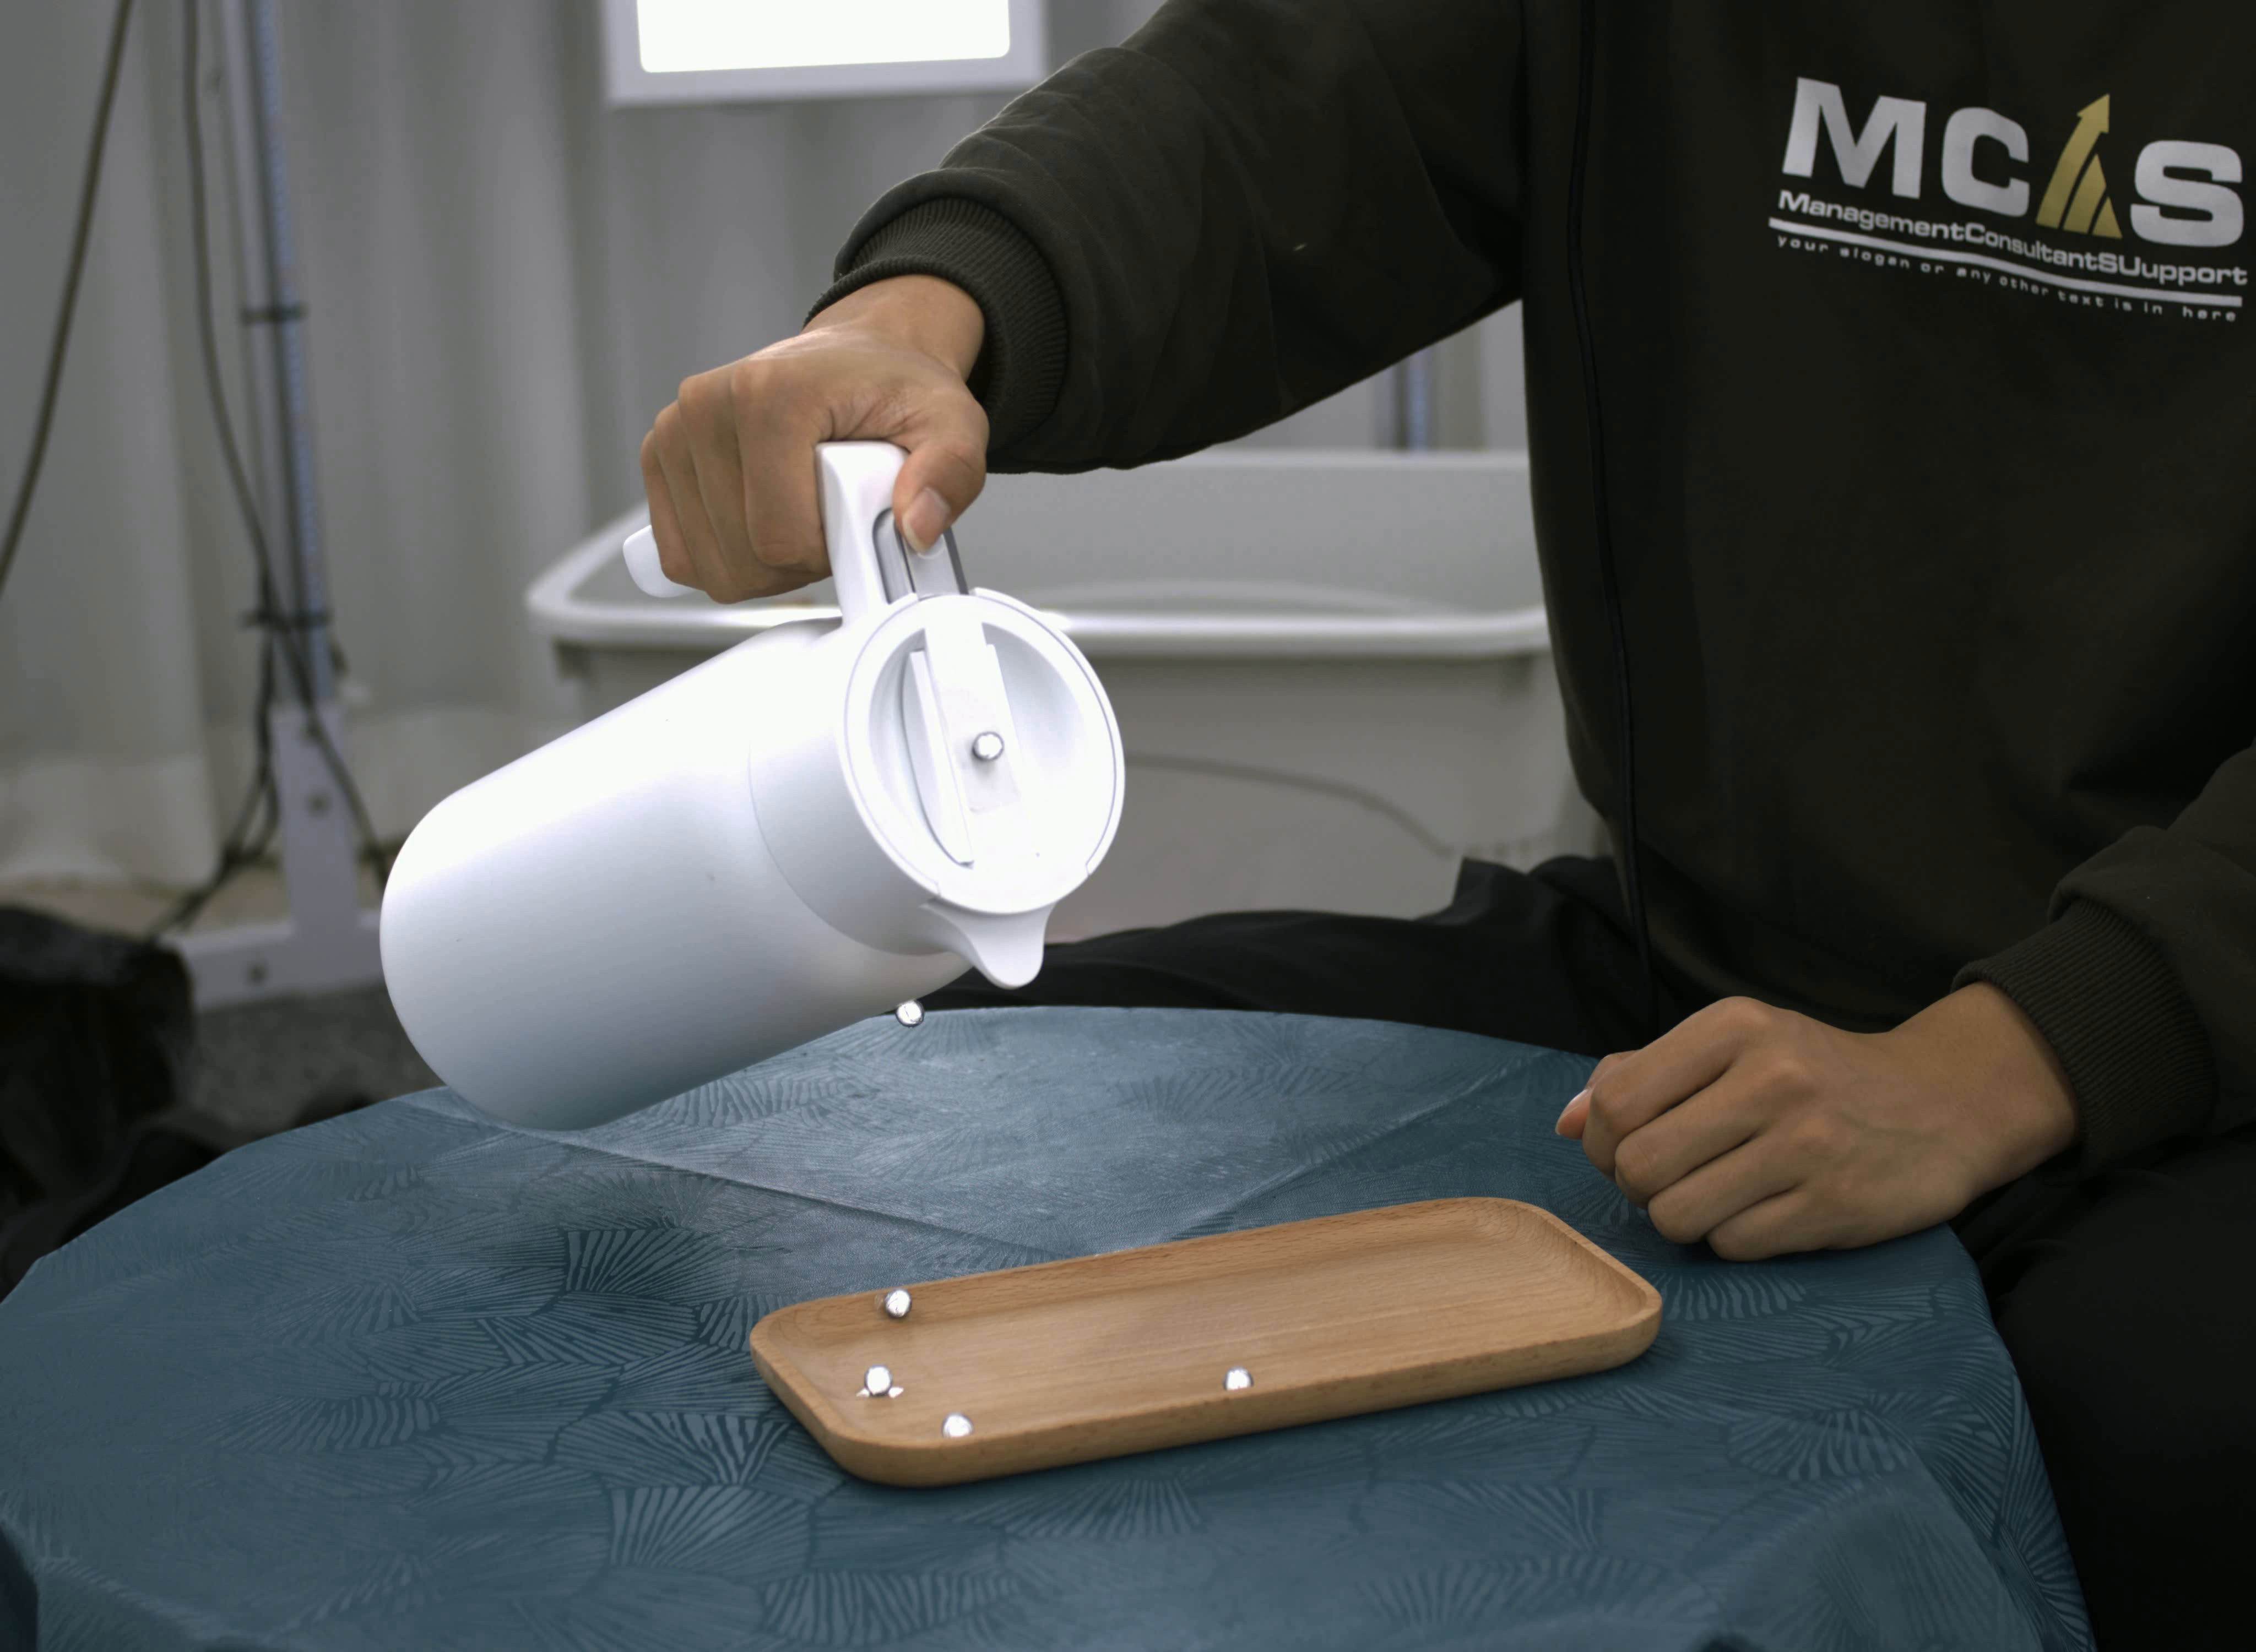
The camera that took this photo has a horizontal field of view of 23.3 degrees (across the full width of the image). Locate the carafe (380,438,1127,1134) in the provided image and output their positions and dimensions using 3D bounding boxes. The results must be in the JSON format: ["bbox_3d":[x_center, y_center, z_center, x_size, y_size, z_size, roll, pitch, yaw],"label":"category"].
[{"bbox_3d":[-0.121,-0.006,1.655,0.123,0.174,0.268,-9,-10,-36],"label":"carafe"}]

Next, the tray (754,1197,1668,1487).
[{"bbox_3d":[0.024,0.146,1.565,0.249,0.023,0.132,-7,18,-18],"label":"tray"}]
